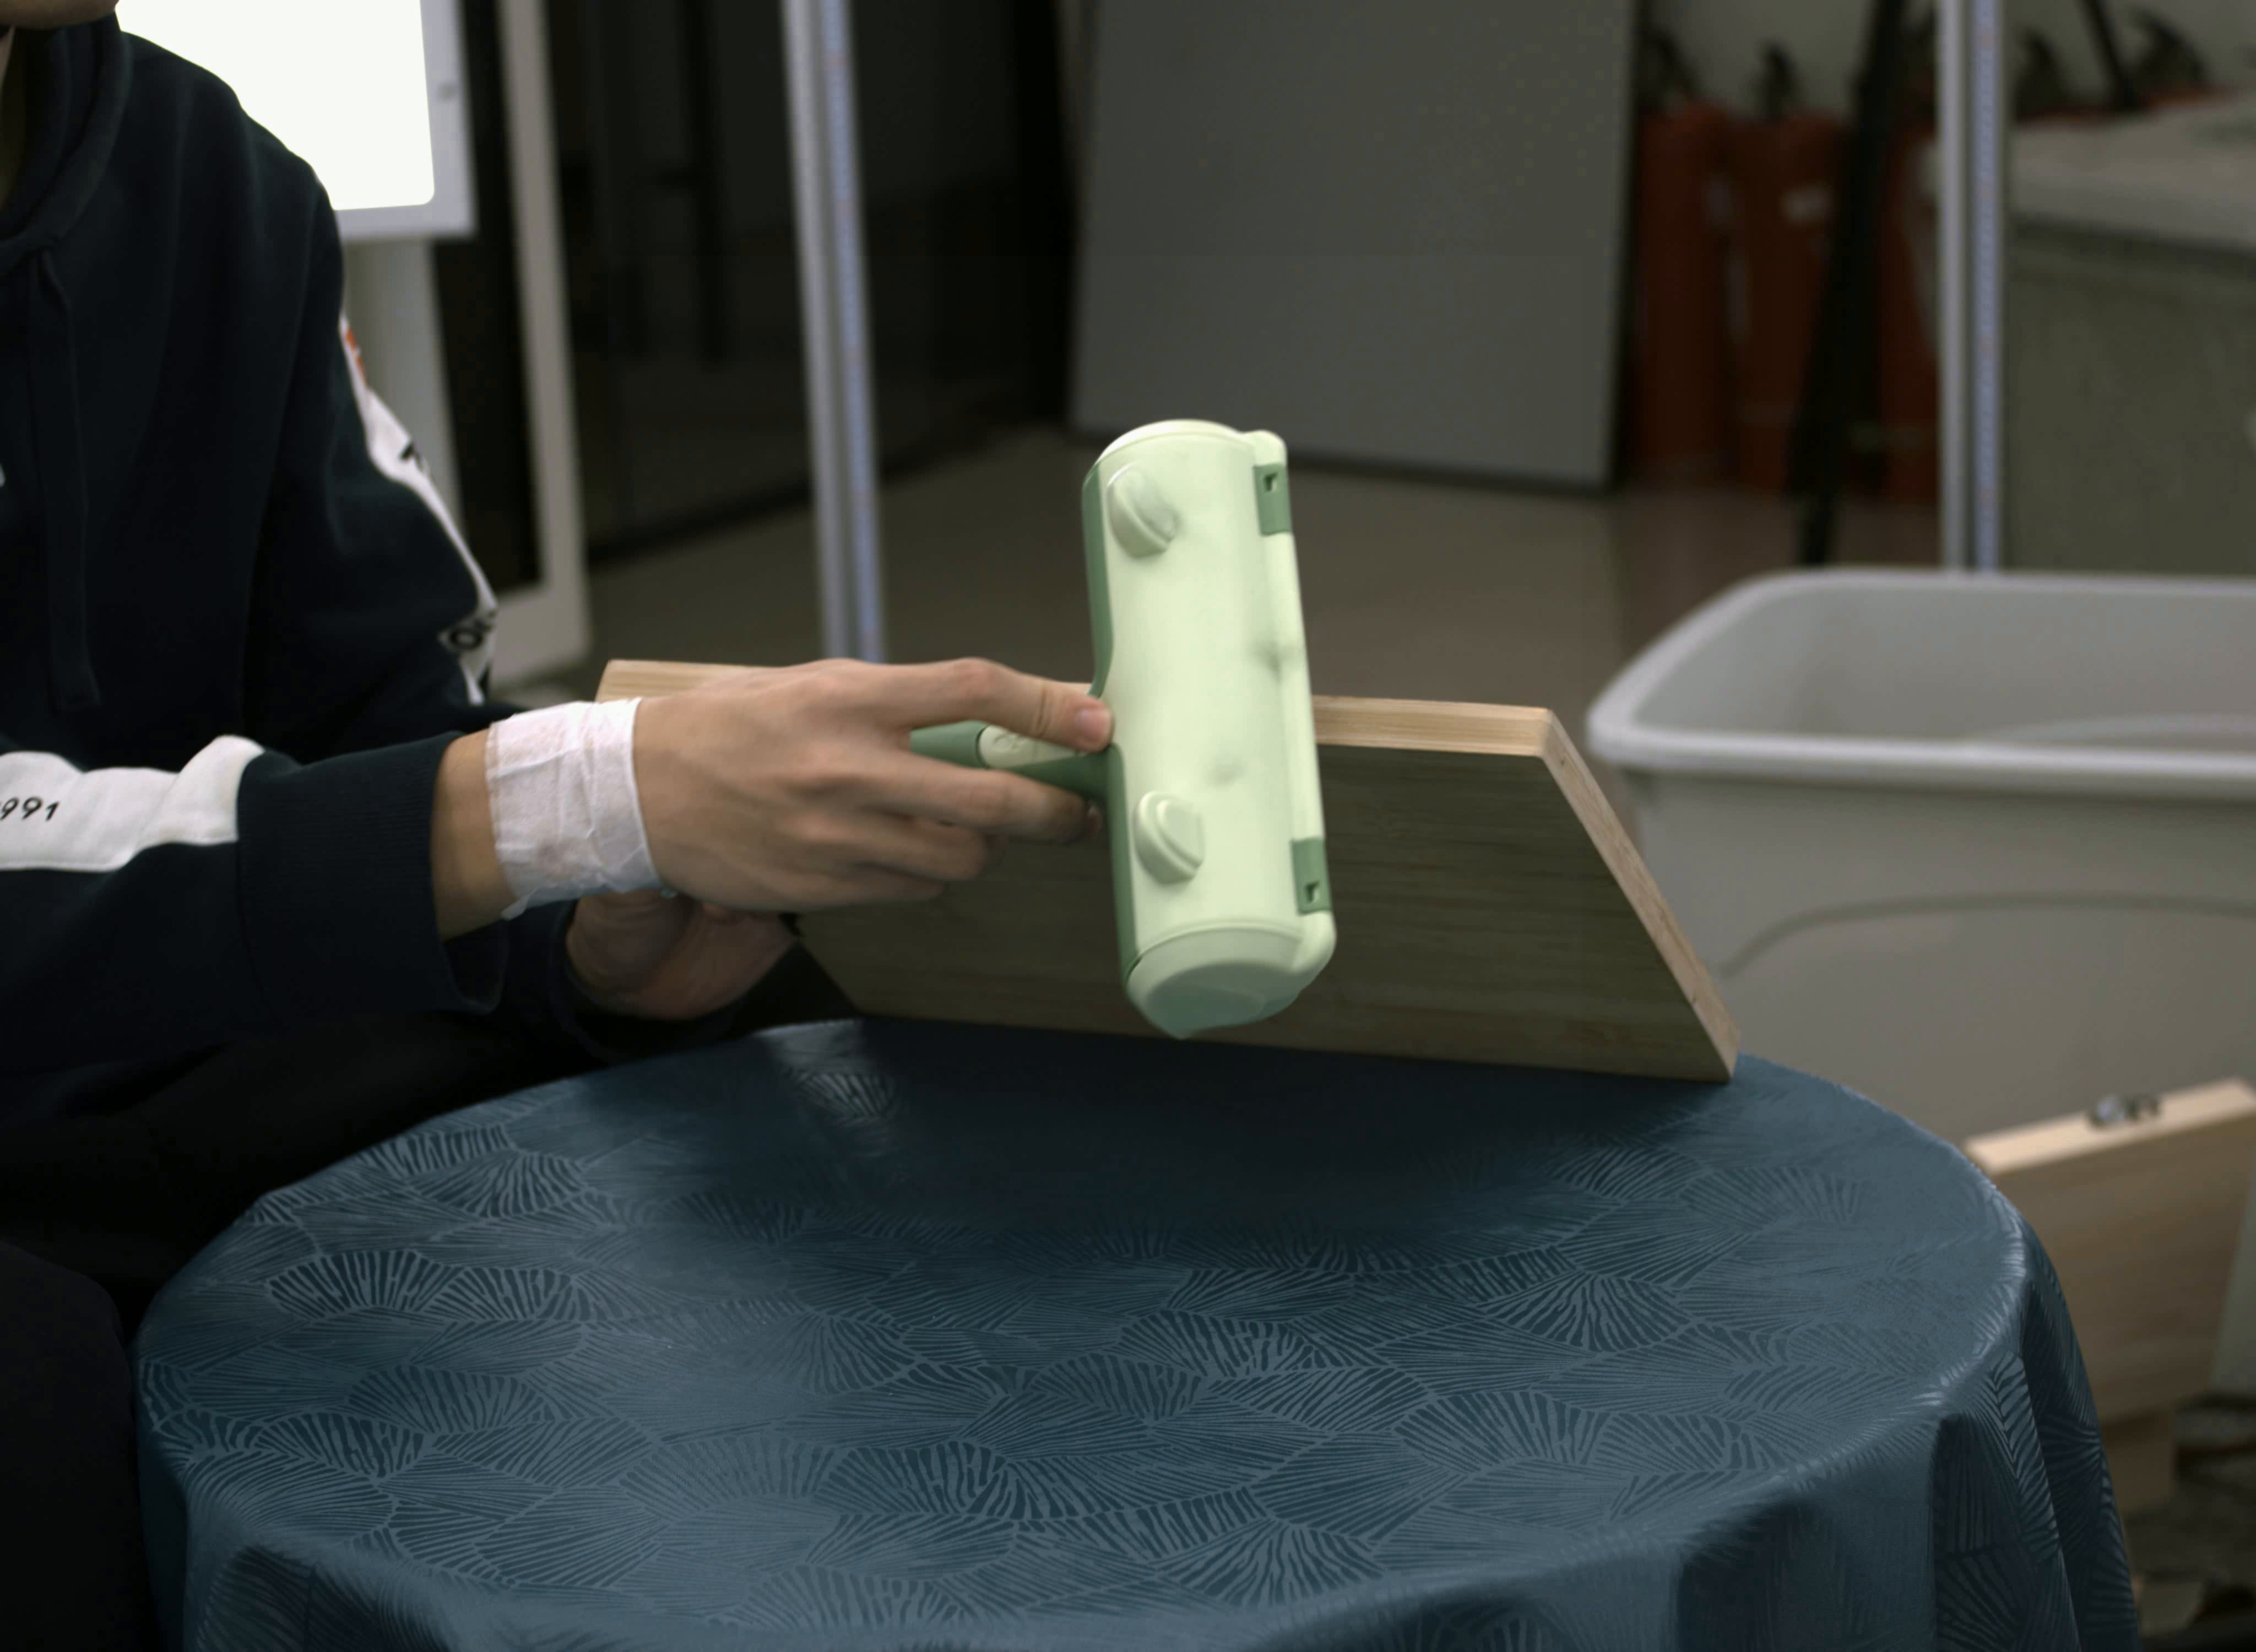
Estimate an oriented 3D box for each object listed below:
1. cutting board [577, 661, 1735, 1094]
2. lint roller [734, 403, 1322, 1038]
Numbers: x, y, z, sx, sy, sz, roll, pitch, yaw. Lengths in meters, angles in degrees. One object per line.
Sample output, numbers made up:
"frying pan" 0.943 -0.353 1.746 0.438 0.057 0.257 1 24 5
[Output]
"cutting board" 0.012 0.018 1.826 0.349 0.024 0.248 4 -28 25
"lint roller" -0.038 -0.029 1.628 0.182 0.201 0.082 -9 -31 8
